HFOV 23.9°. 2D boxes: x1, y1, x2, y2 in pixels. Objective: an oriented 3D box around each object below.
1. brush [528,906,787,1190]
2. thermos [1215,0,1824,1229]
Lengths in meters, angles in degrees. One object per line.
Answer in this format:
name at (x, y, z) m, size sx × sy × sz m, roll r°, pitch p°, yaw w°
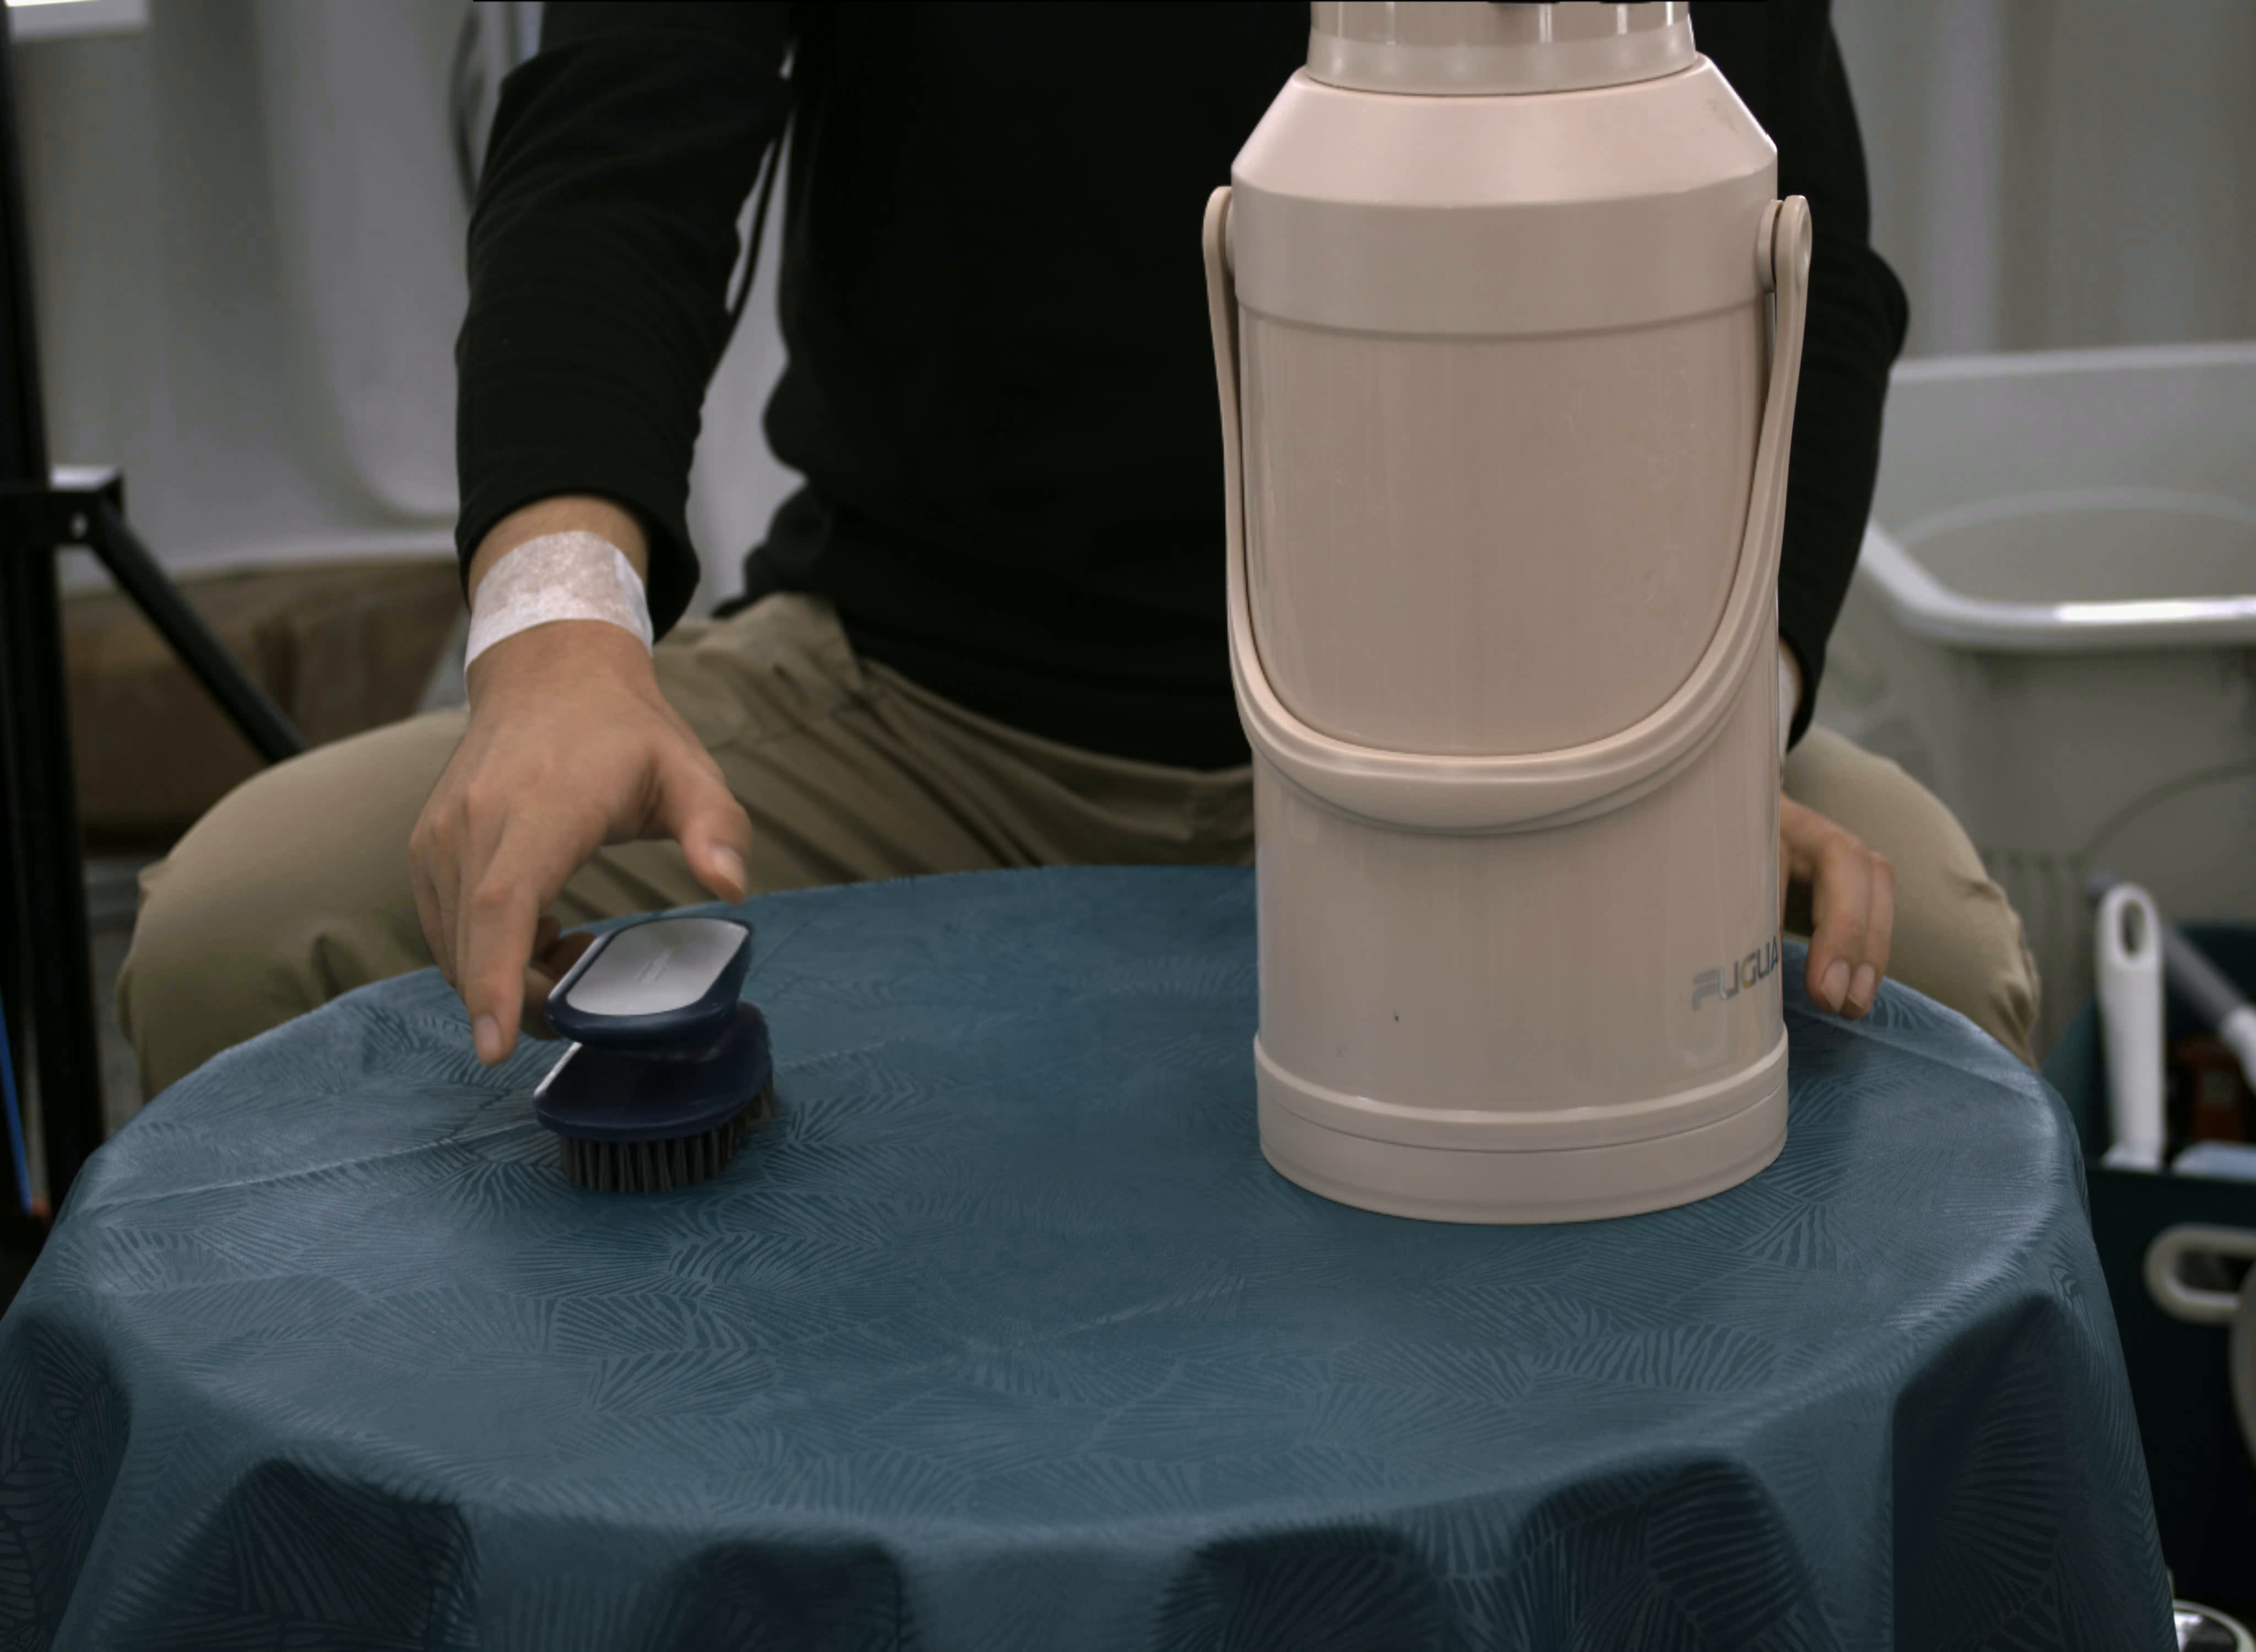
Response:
brush at (-0.142, 0.069, 1.621) m, size 0.068 × 0.061 × 0.121 m, roll 2°, pitch 17°, yaw 12°
thermos at (0.120, -0.101, 1.549) m, size 0.177 × 0.406 × 0.205 m, roll 2°, pitch 16°, yaw 20°
